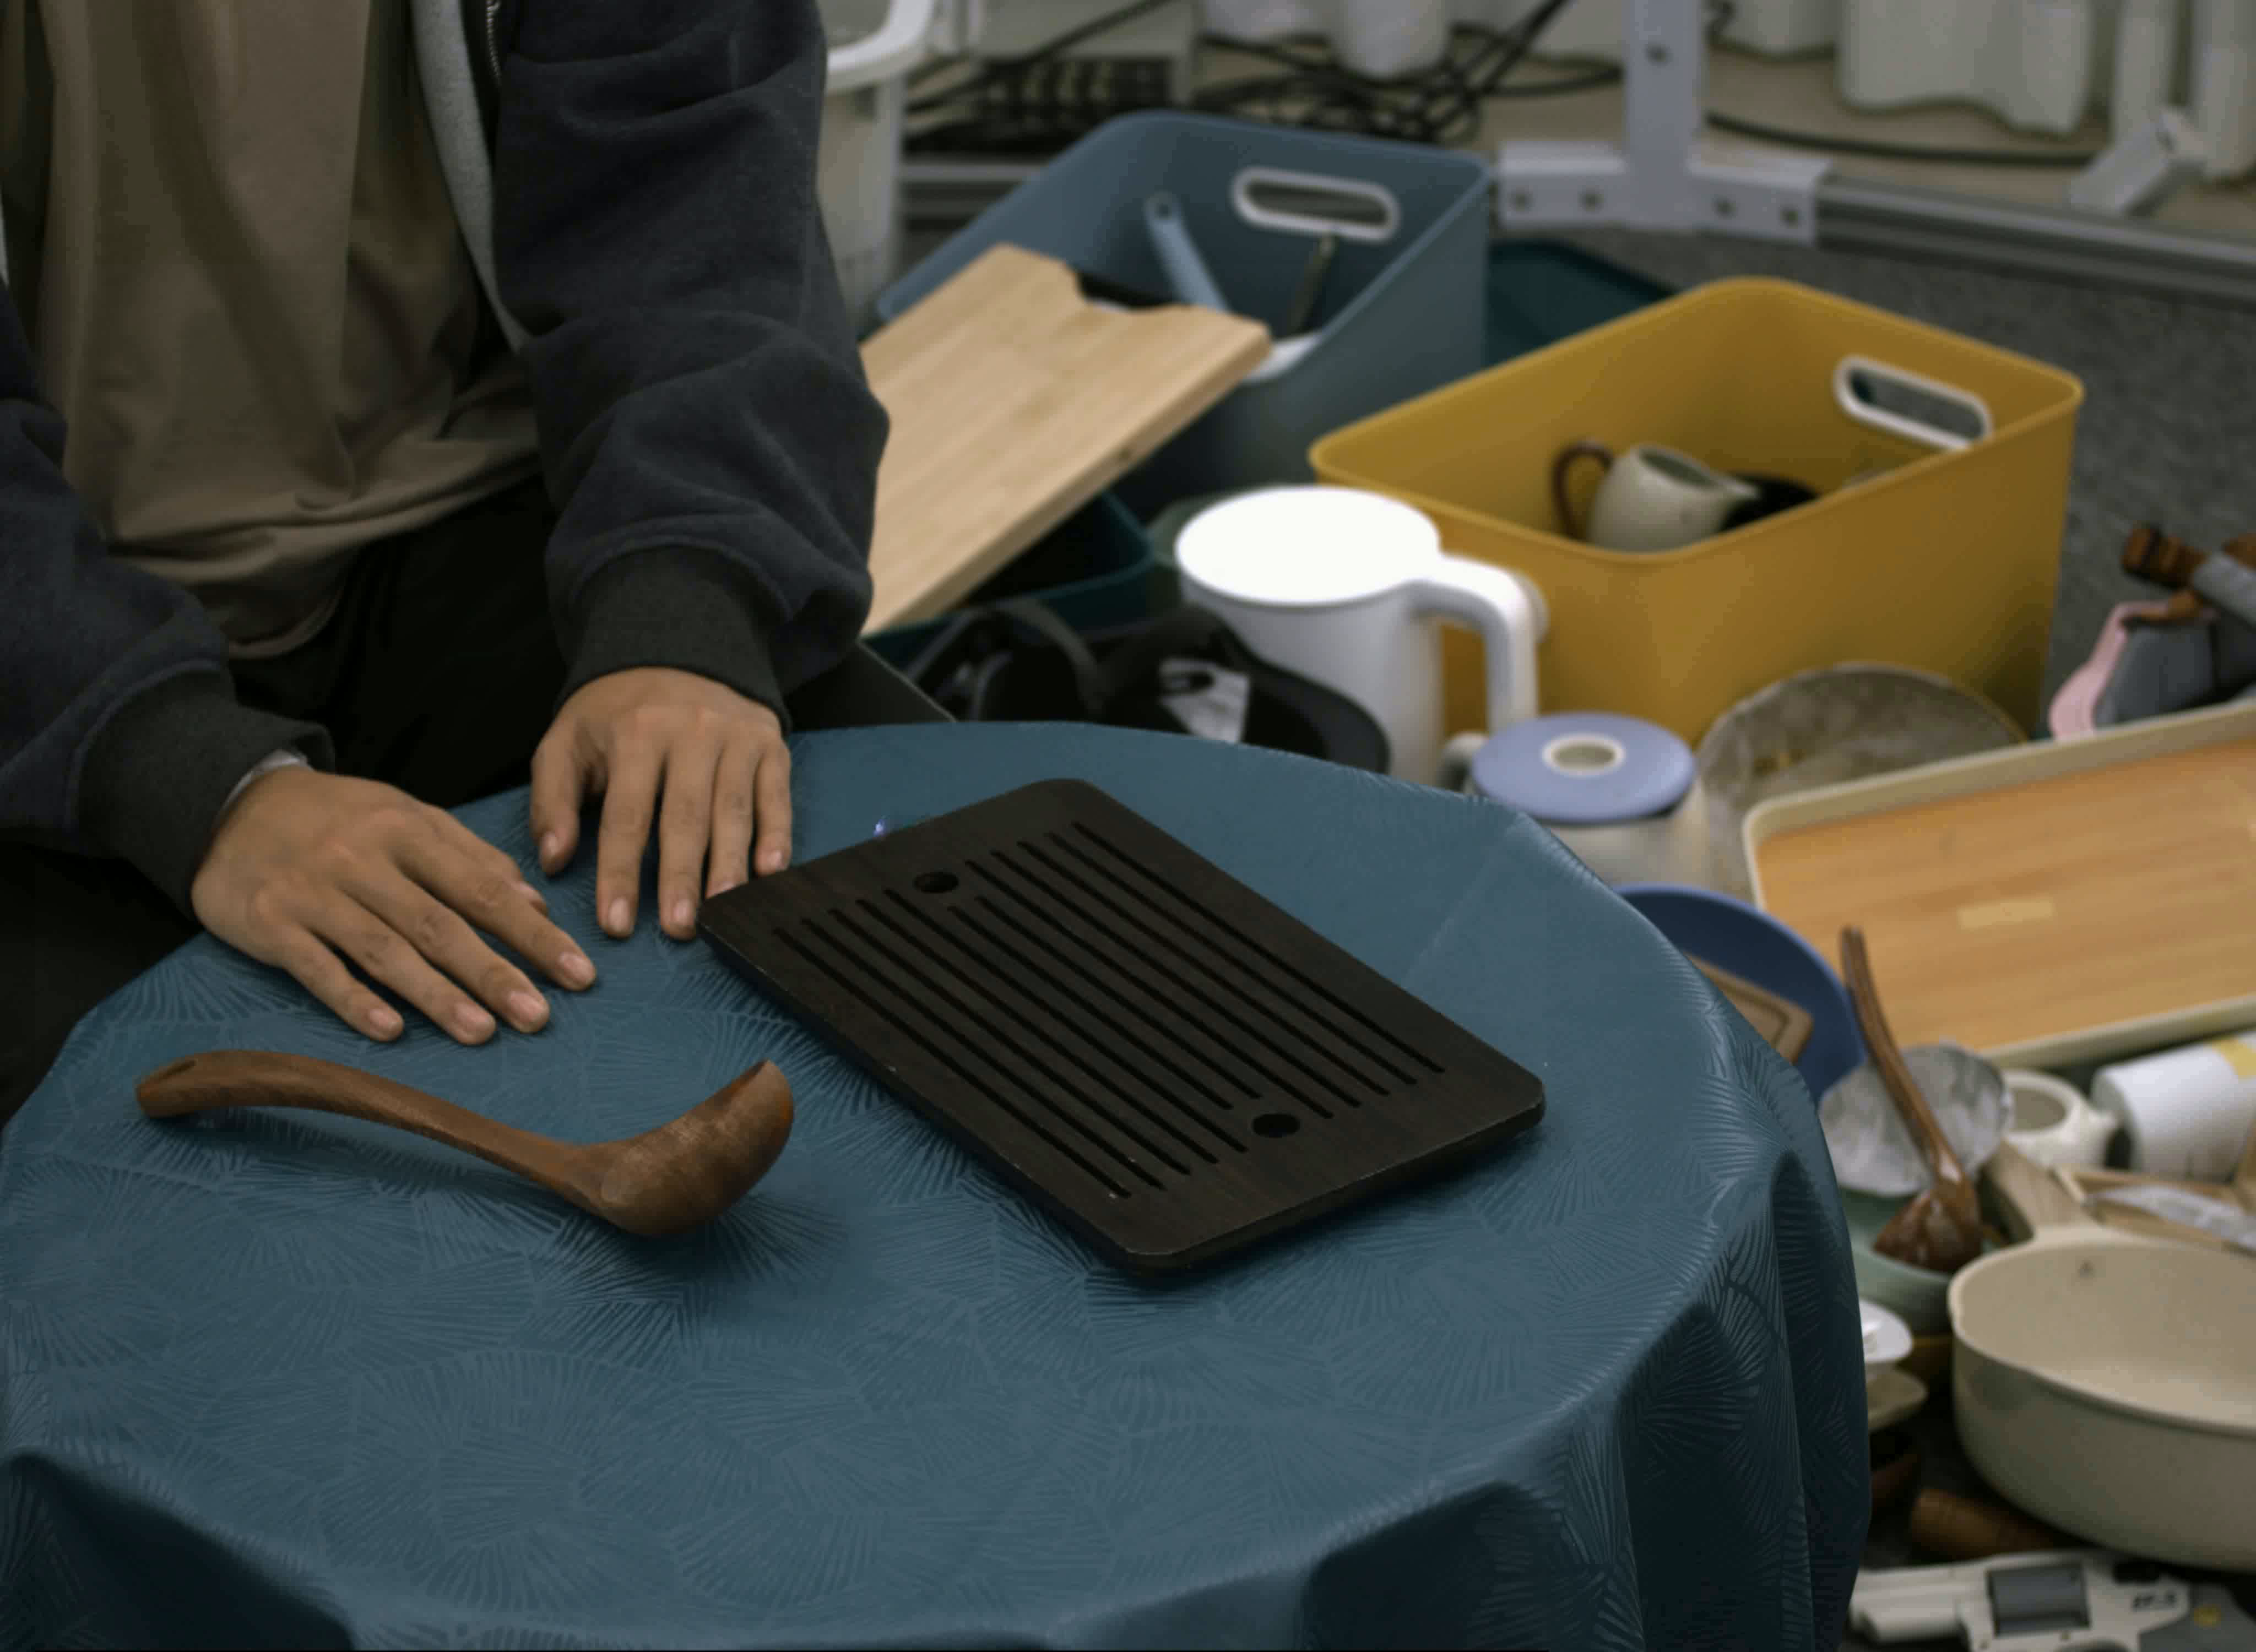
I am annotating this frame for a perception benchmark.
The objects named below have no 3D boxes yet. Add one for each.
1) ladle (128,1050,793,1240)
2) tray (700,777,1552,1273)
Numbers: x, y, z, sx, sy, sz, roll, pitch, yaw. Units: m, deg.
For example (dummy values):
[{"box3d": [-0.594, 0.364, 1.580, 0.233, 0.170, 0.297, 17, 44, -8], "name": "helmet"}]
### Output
[{"box3d": [-0.229, 0.090, 1.876, 0.258, 0.064, 0.078, 11, 30, 25], "name": "ladle"}, {"box3d": [-0.006, 0.065, 1.952, 0.171, 0.018, 0.307, -19, 31, -28], "name": "tray"}]
